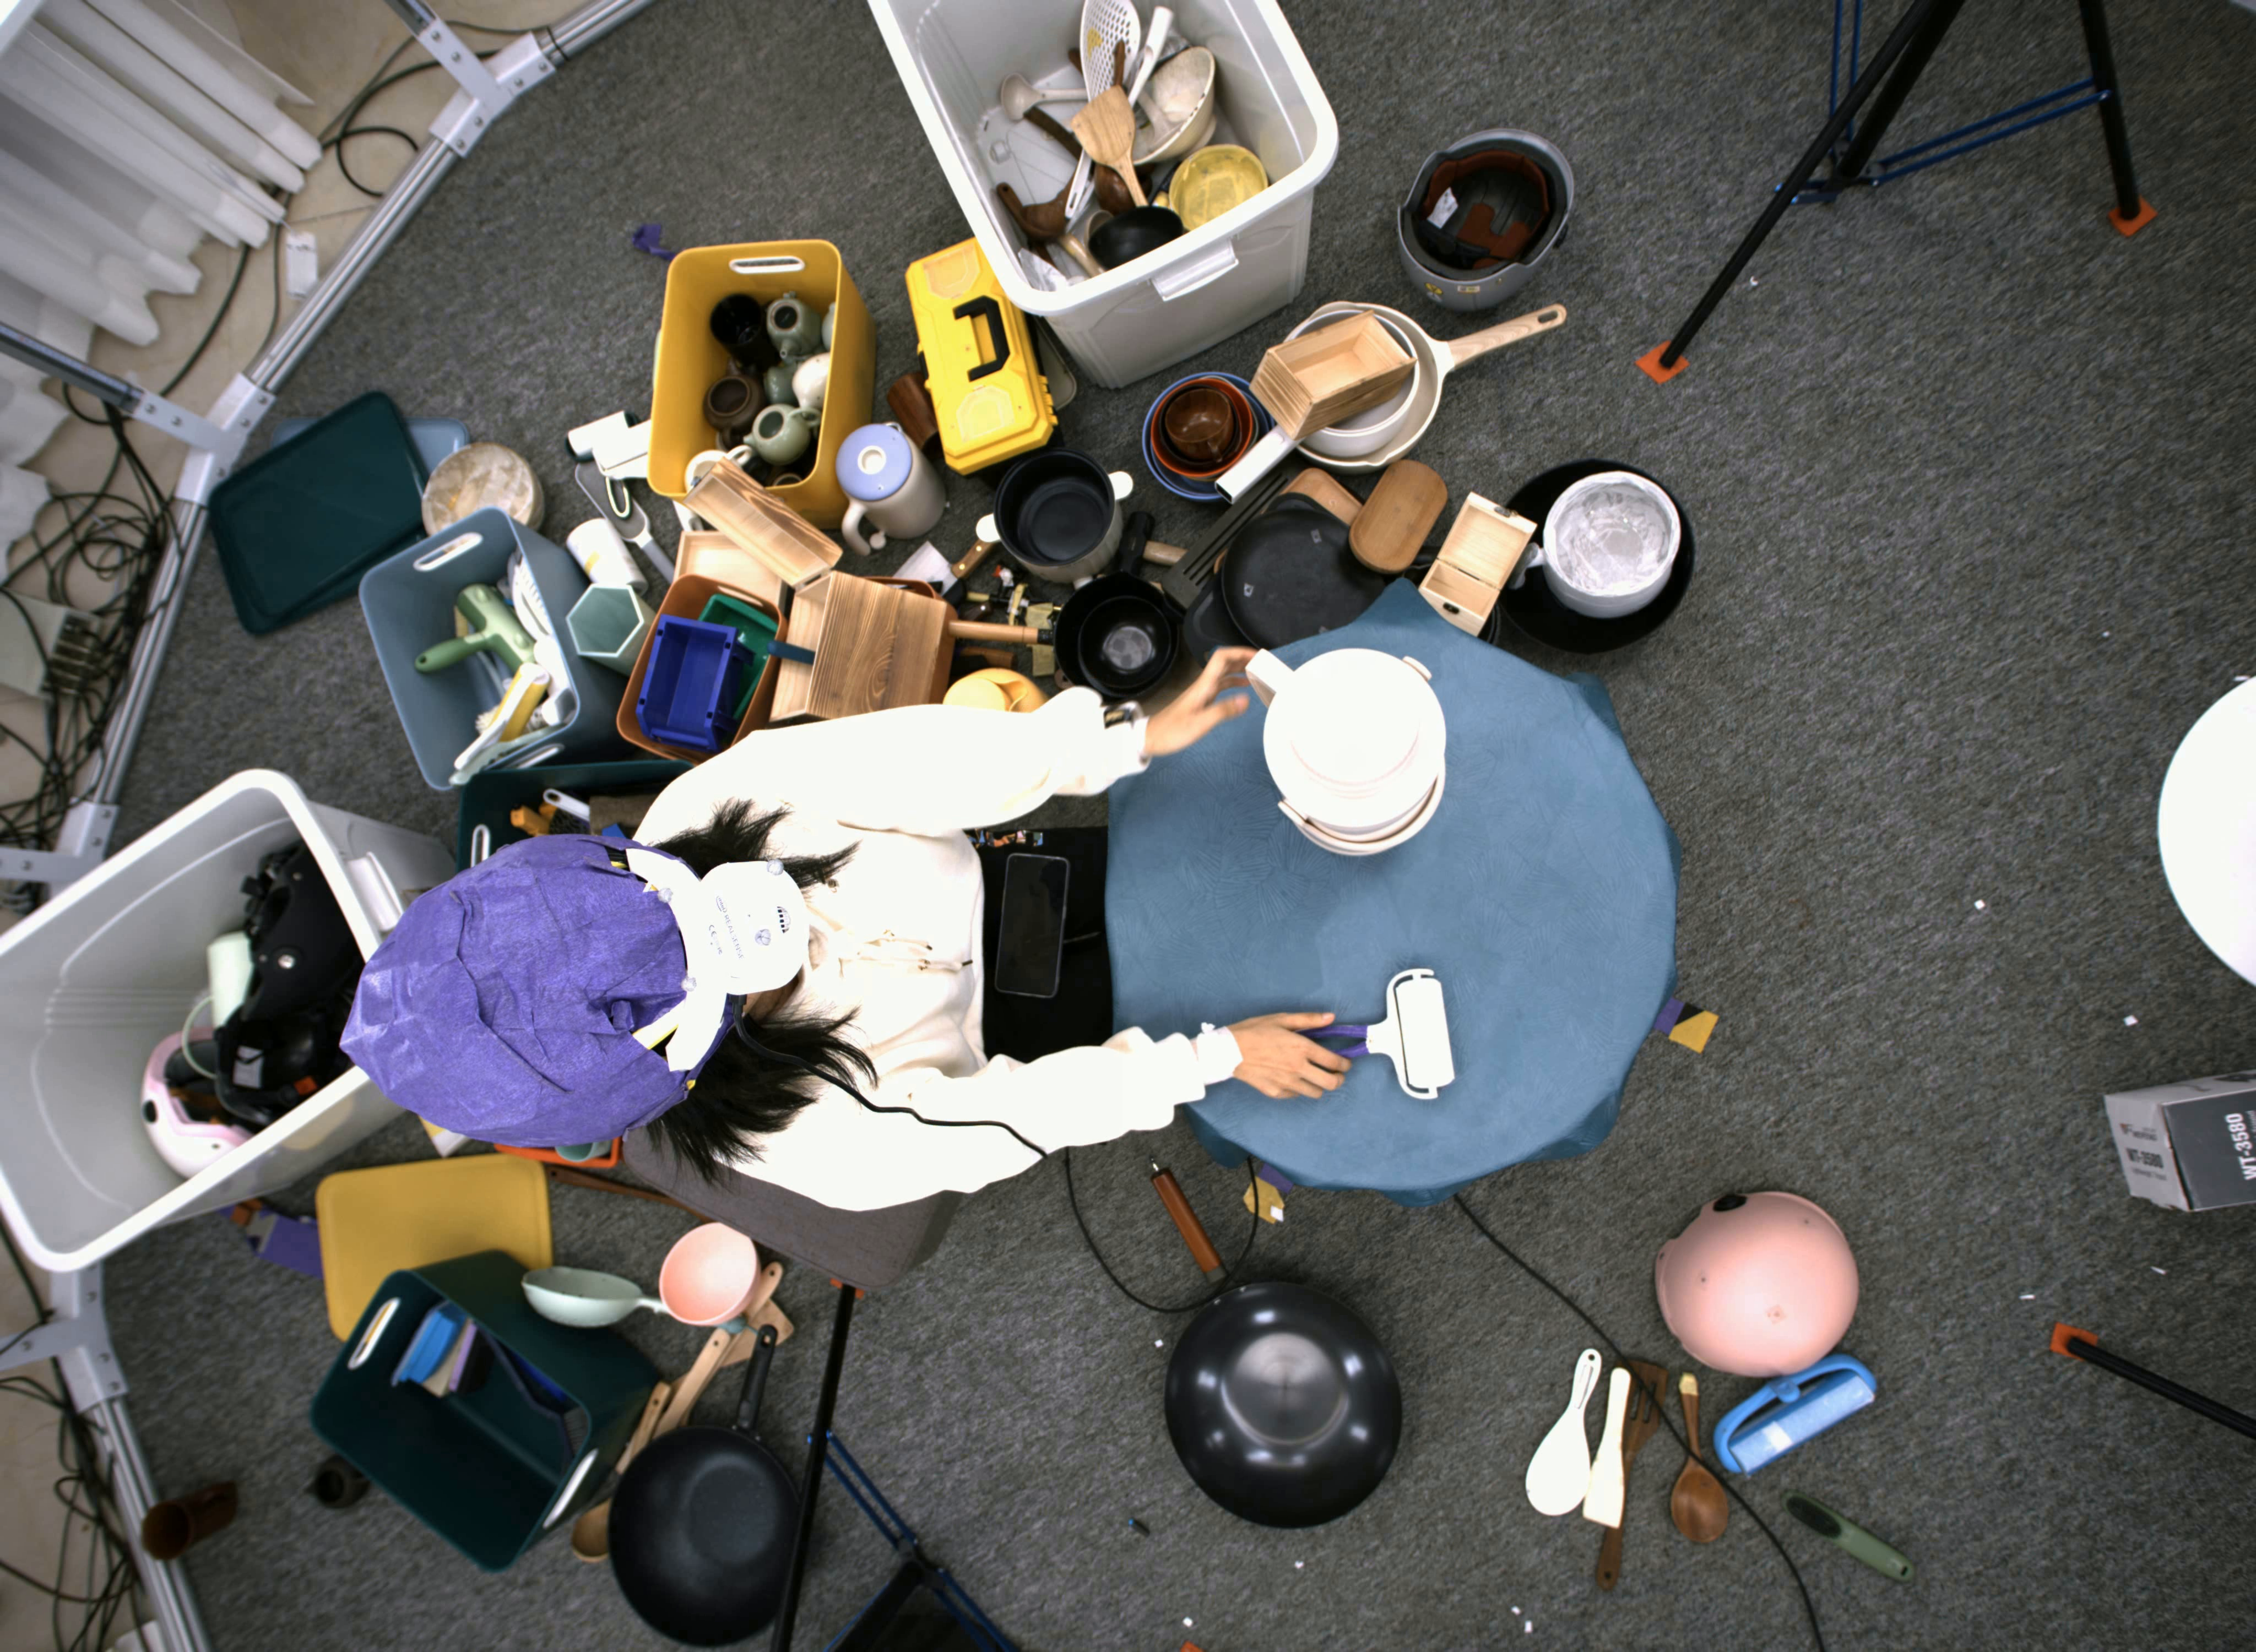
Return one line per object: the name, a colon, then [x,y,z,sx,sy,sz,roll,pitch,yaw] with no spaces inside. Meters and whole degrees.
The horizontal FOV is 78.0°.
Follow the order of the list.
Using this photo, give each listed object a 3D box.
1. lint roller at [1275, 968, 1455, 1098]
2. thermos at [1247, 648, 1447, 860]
lint roller: [0.242,0.217,1.429,0.181,0.050,0.132,-6,86,5]
thermos: [0.202,-0.077,1.280,0.206,0.407,0.176,41,93,11]
